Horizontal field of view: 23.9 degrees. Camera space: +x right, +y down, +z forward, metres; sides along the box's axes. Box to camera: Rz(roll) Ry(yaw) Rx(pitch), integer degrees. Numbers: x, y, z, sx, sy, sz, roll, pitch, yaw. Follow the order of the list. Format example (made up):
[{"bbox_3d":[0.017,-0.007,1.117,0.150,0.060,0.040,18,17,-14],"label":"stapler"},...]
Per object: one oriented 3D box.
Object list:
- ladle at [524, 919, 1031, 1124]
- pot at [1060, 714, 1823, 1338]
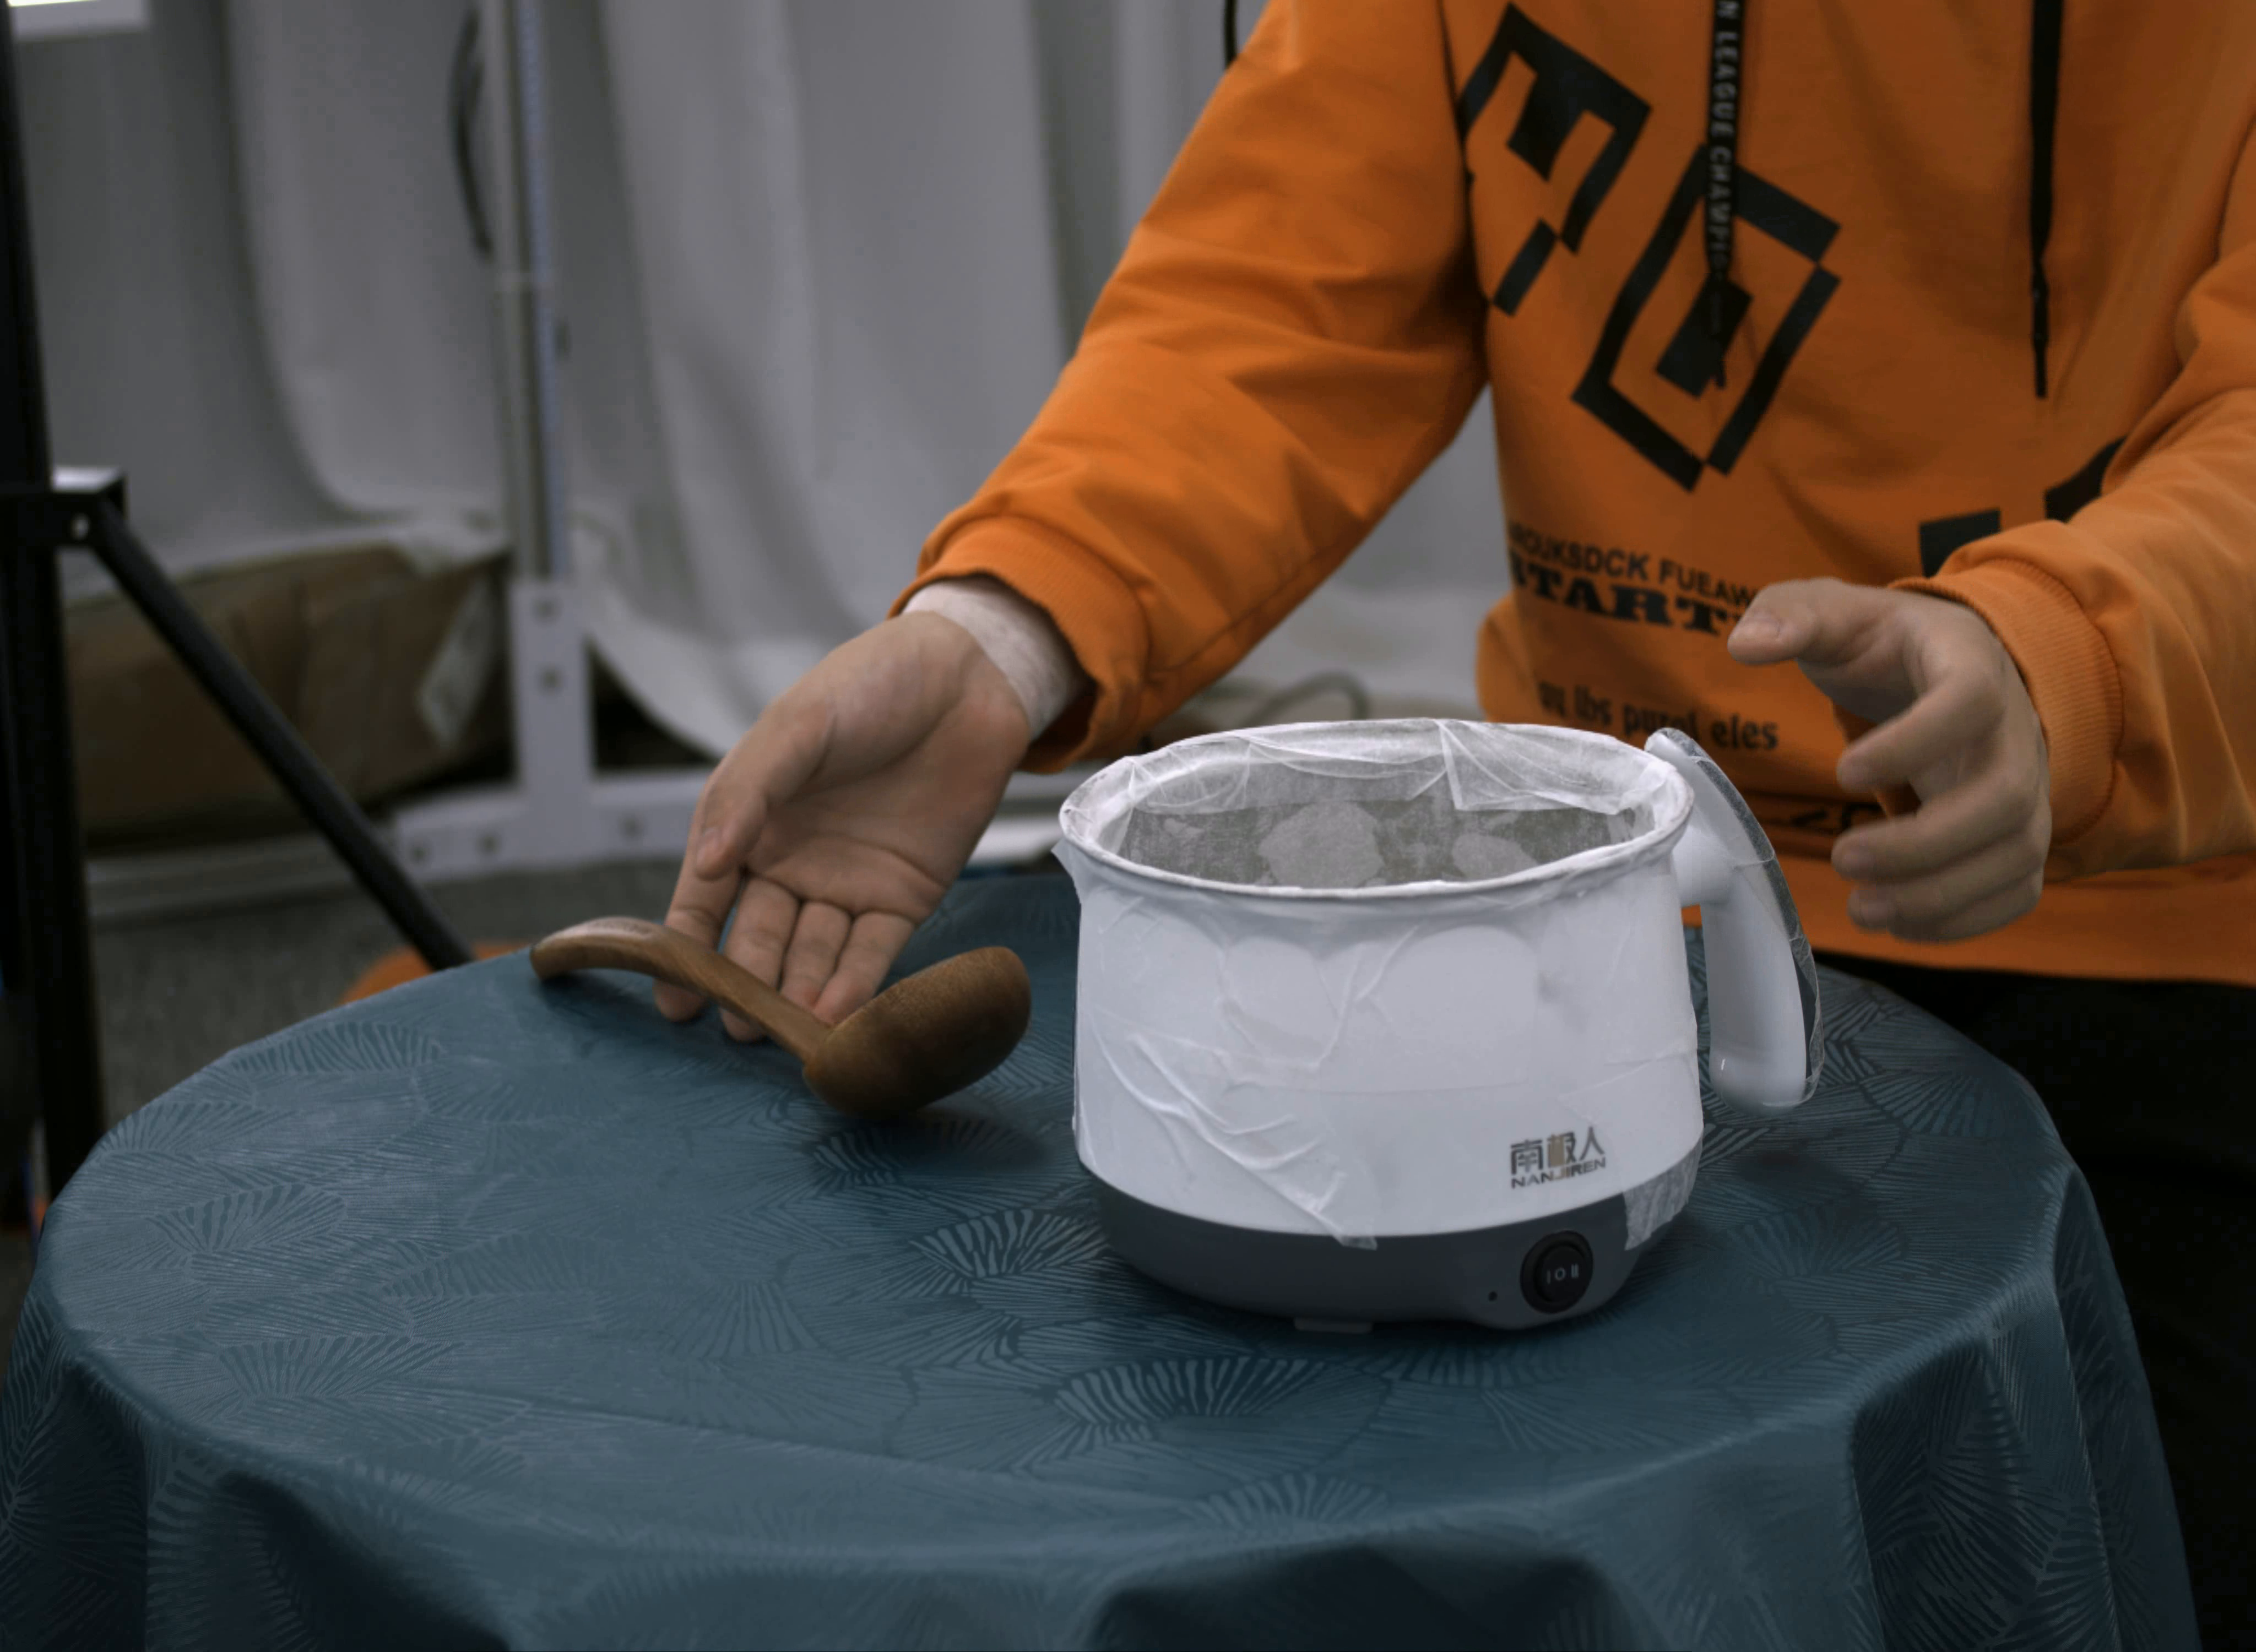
[{"bbox_3d":[-0.121,0.044,1.687,0.075,0.065,0.266,-14,20,-33],"label":"ladle"},{"bbox_3d":[0.095,0.049,1.497,0.229,0.136,0.182,-12,18,-28],"label":"pot"}]
